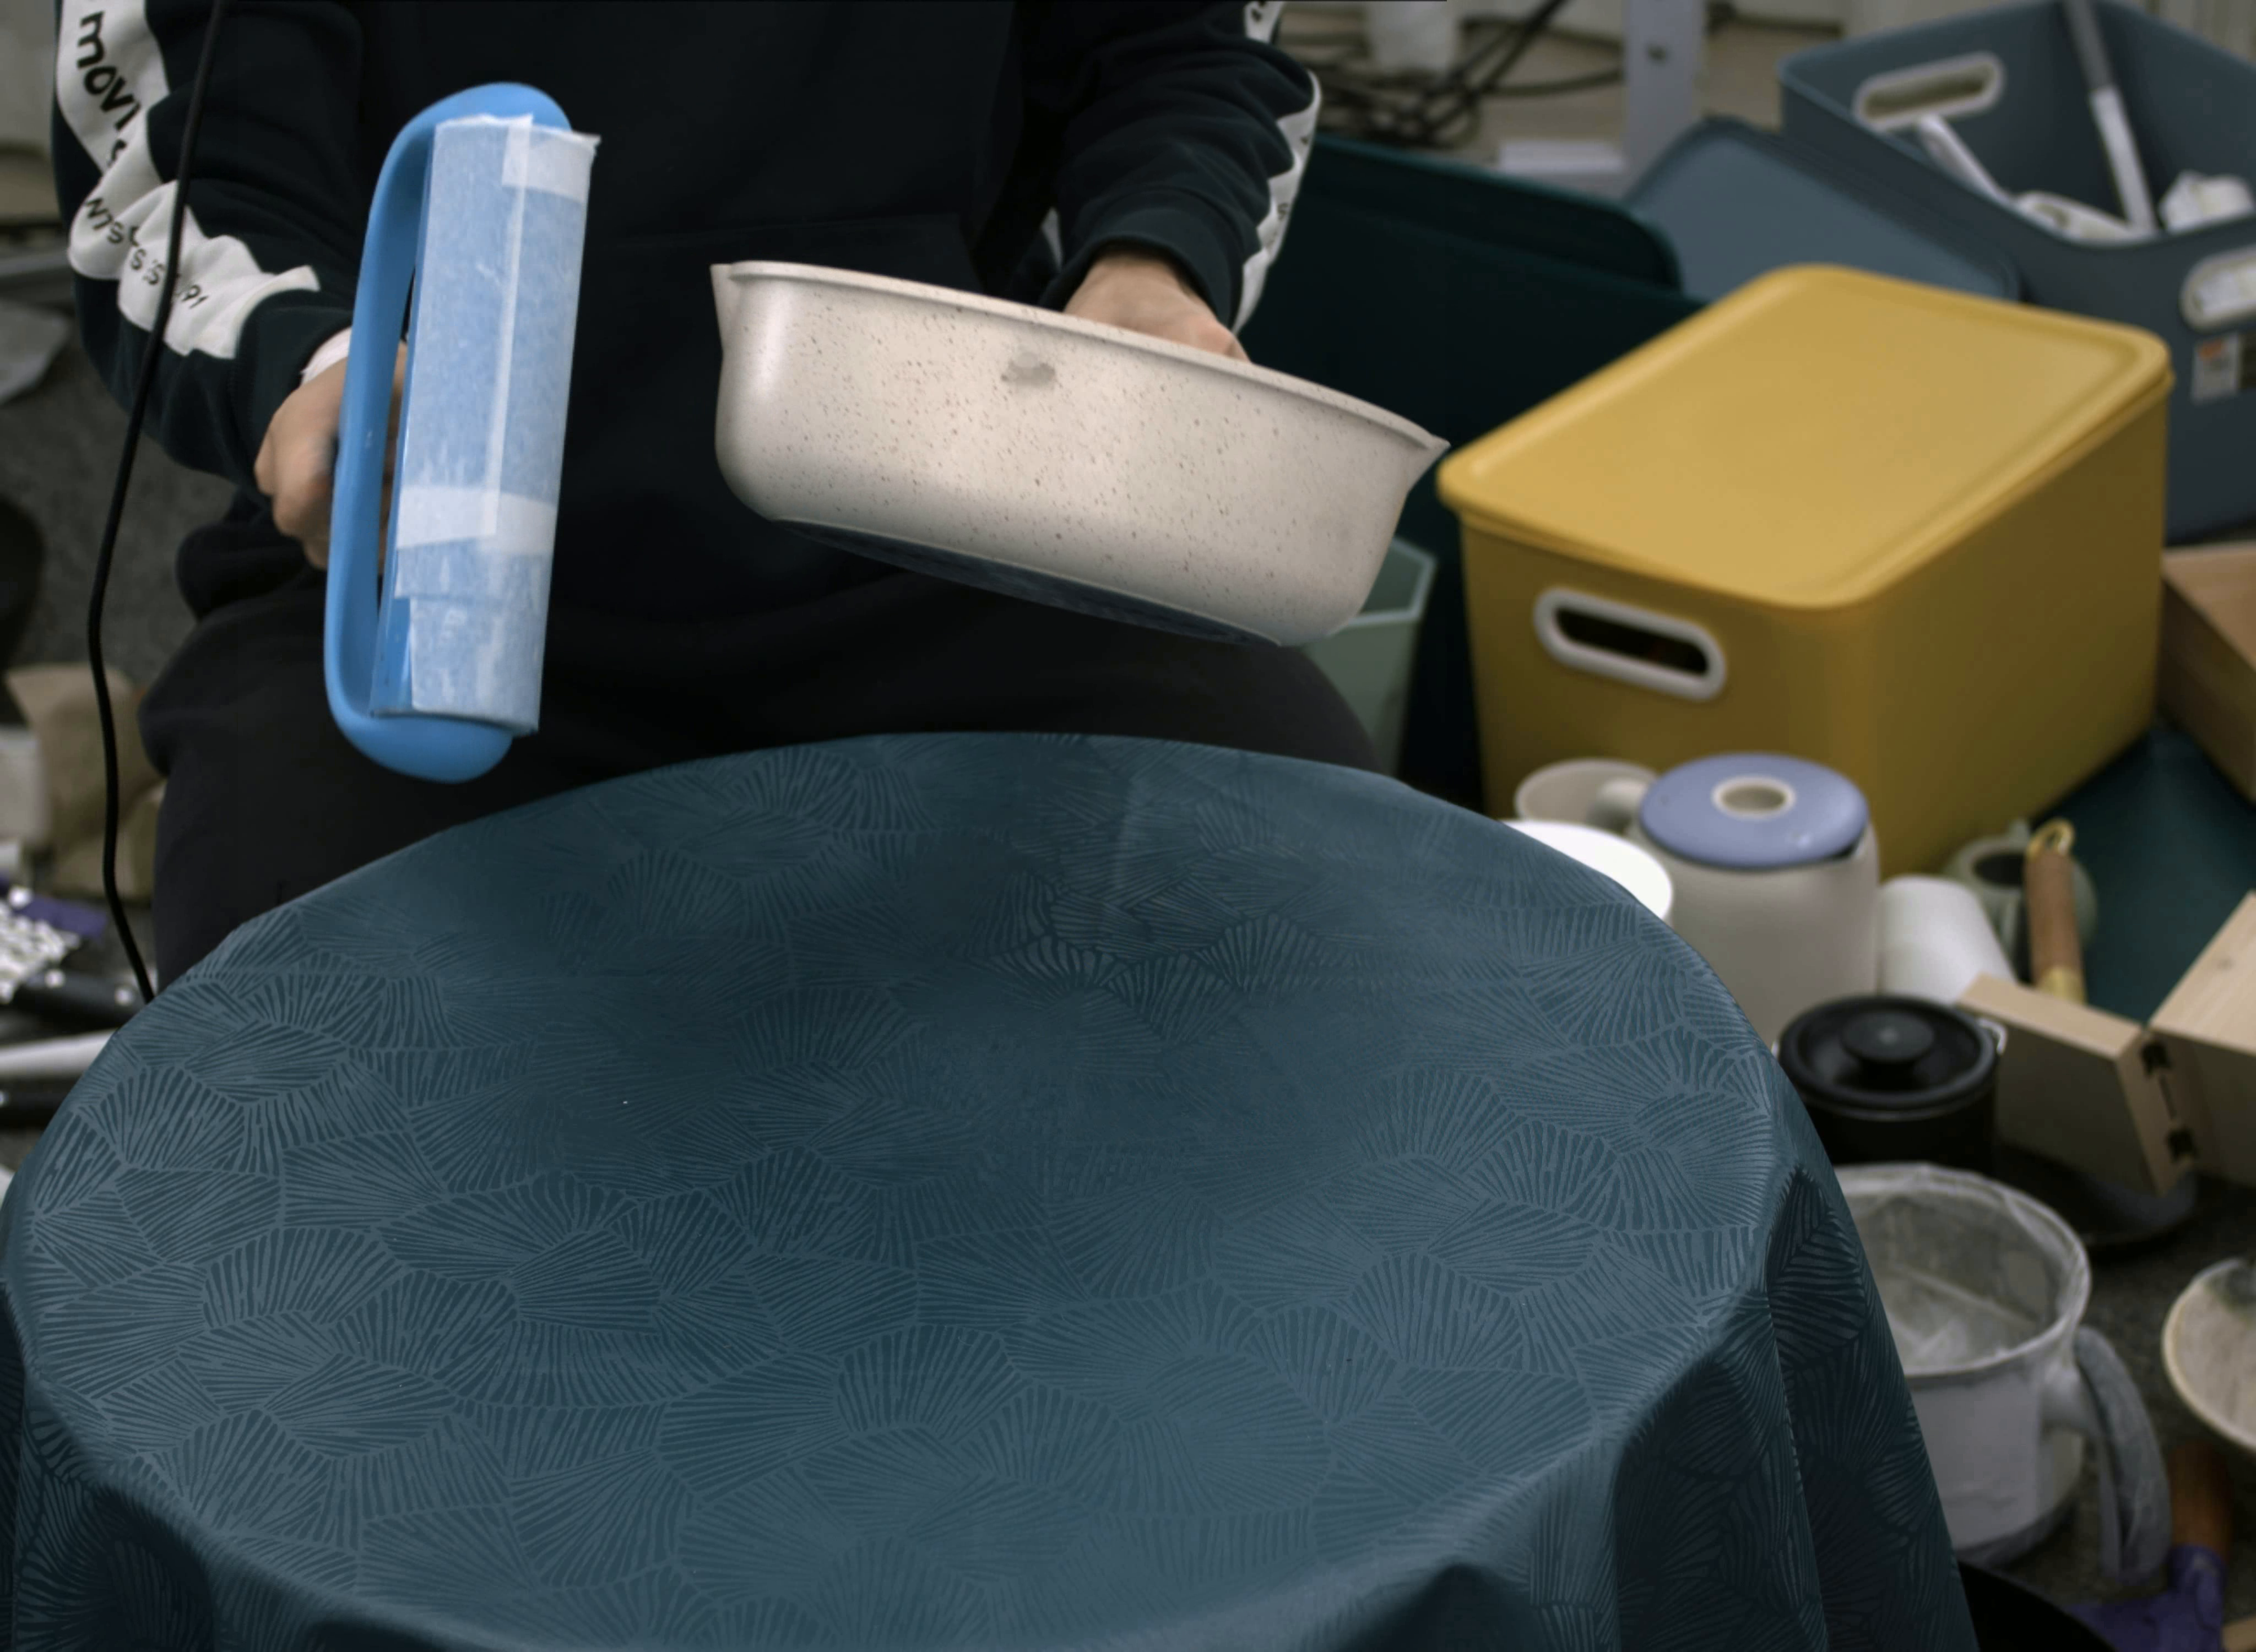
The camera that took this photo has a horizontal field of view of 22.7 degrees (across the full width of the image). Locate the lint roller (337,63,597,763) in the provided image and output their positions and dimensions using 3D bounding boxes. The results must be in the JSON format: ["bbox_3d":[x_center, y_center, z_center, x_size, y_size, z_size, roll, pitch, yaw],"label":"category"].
[{"bbox_3d":[-0.228,-0.124,1.869,0.068,0.231,0.178,7,-12,-20],"label":"lint roller"}]

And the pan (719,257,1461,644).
[{"bbox_3d":[-0.015,-0.127,2.032,0.262,0.102,0.434,12,-2,3],"label":"pan"}]
